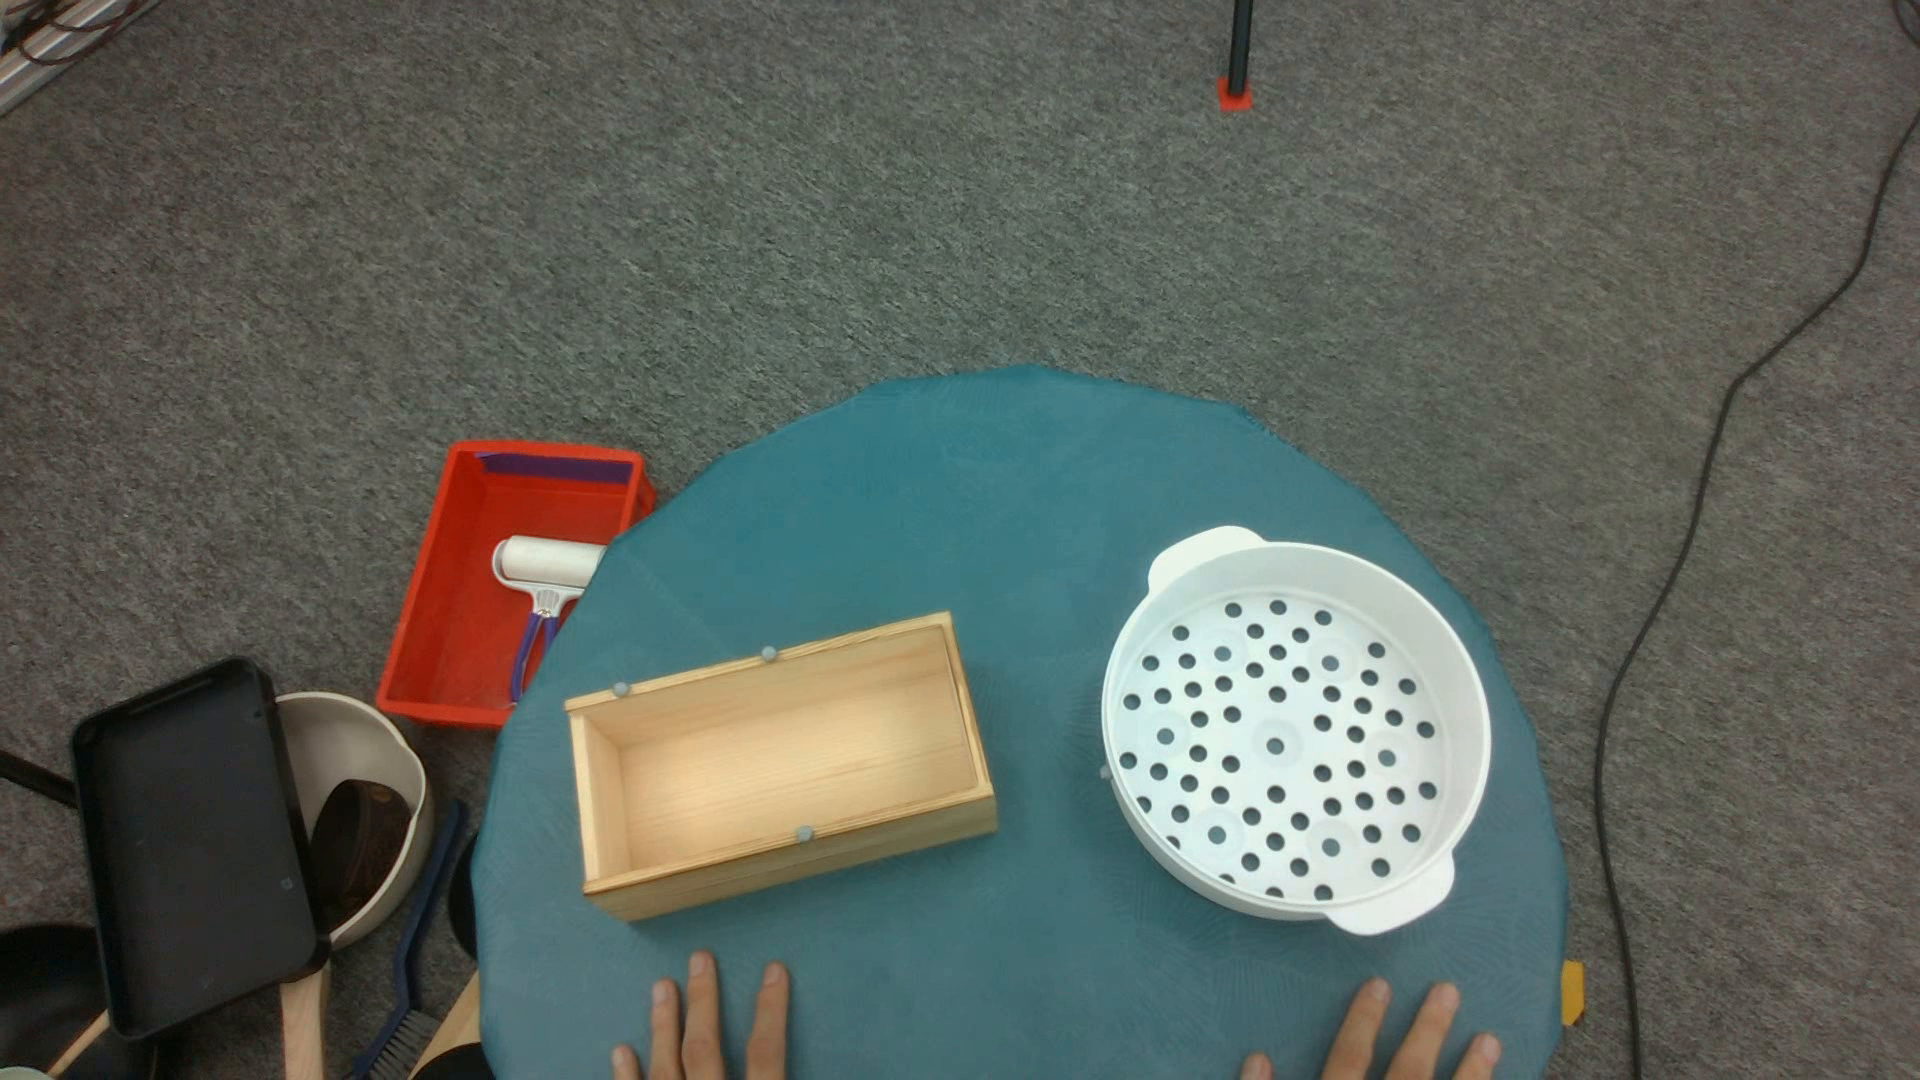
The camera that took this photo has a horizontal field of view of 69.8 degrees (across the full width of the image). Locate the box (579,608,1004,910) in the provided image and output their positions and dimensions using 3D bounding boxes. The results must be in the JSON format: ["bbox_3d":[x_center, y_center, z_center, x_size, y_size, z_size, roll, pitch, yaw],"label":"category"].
[{"bbox_3d":[-0.090,0.123,0.763,0.211,0.080,0.108,-13,66,-2],"label":"box"}]

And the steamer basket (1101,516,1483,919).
[{"bbox_3d":[0.179,0.099,0.764,0.202,0.069,0.231,-23,67,-6],"label":"steamer basket"}]
